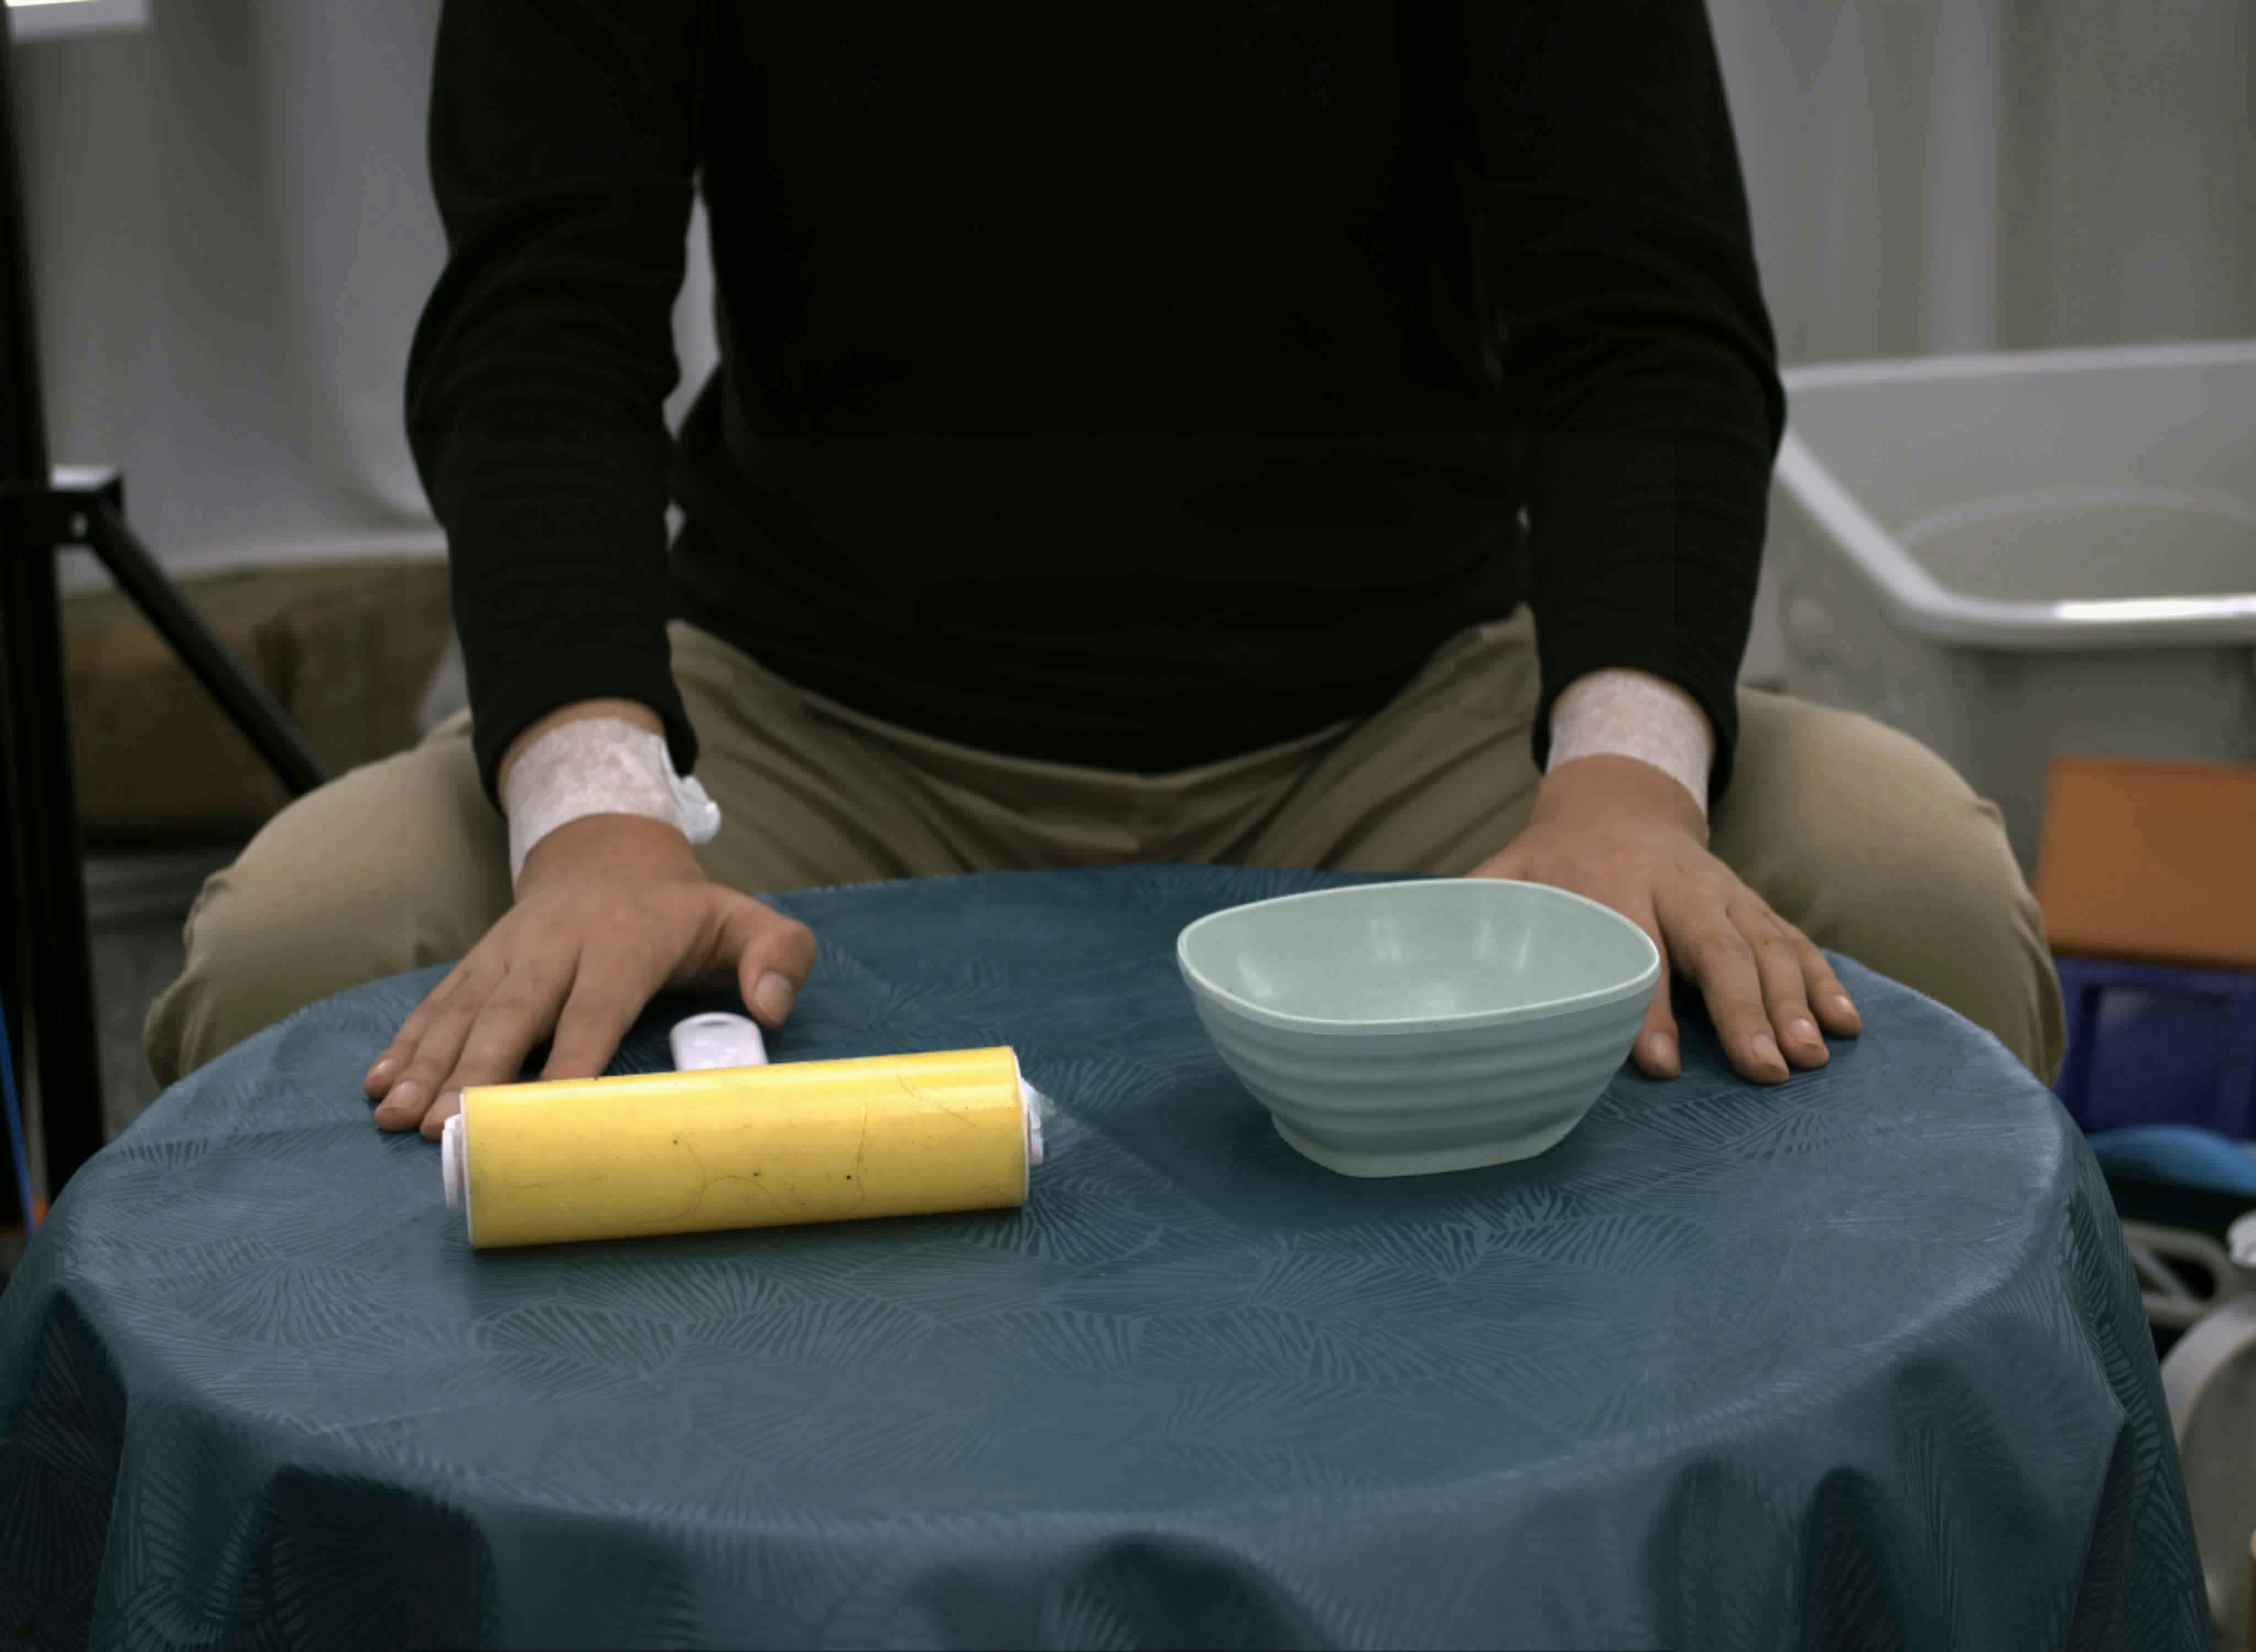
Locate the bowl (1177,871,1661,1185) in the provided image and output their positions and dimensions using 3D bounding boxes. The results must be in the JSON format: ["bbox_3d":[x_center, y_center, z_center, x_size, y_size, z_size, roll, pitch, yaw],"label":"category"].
[{"bbox_3d":[0.087,0.064,1.594,0.151,0.058,0.152,-3,17,0],"label":"bowl"}]

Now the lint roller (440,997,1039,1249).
[{"bbox_3d":[-0.124,0.072,1.610,0.172,0.051,0.194,-4,20,-7],"label":"lint roller"}]
